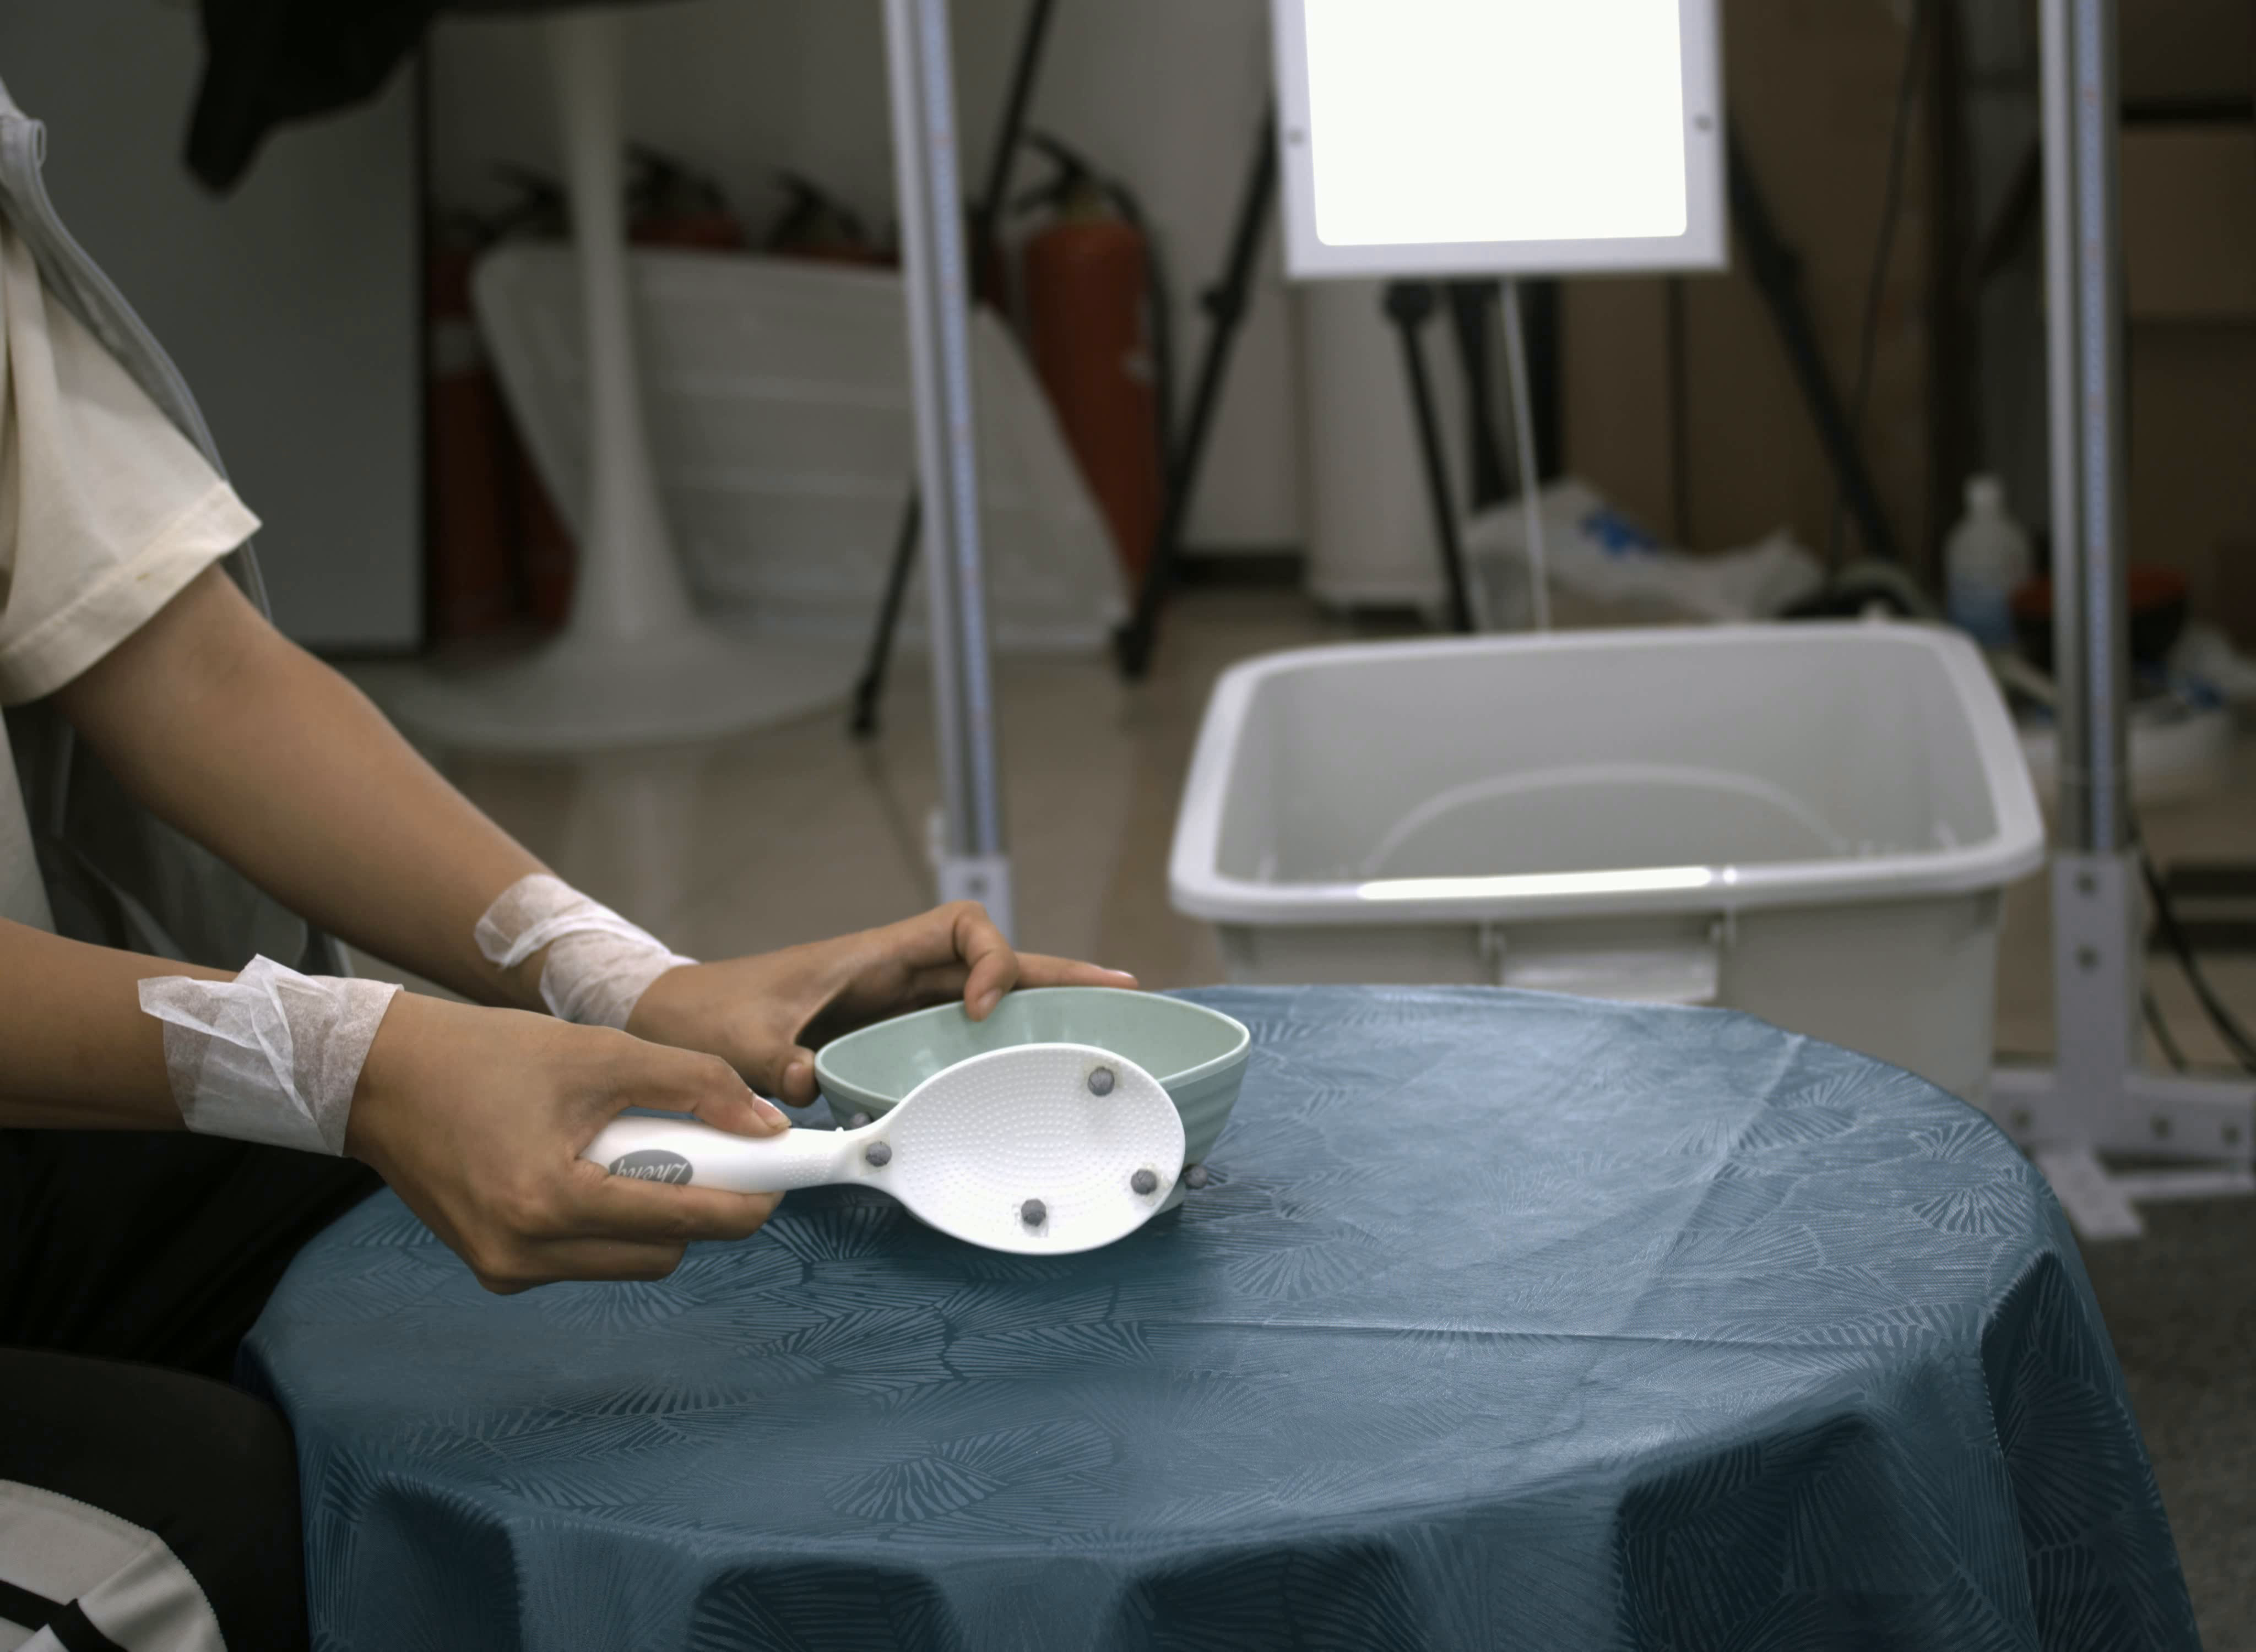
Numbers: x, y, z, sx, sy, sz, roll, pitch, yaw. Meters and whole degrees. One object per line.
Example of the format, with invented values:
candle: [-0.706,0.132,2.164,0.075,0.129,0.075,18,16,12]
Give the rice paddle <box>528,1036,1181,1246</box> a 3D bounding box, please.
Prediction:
rice paddle: [-0.085,0.101,1.730,0.205,0.069,0.029,-3,14,3]

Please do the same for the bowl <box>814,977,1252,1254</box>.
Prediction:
bowl: [-0.031,0.102,1.886,0.151,0.059,0.151,-4,16,0]
